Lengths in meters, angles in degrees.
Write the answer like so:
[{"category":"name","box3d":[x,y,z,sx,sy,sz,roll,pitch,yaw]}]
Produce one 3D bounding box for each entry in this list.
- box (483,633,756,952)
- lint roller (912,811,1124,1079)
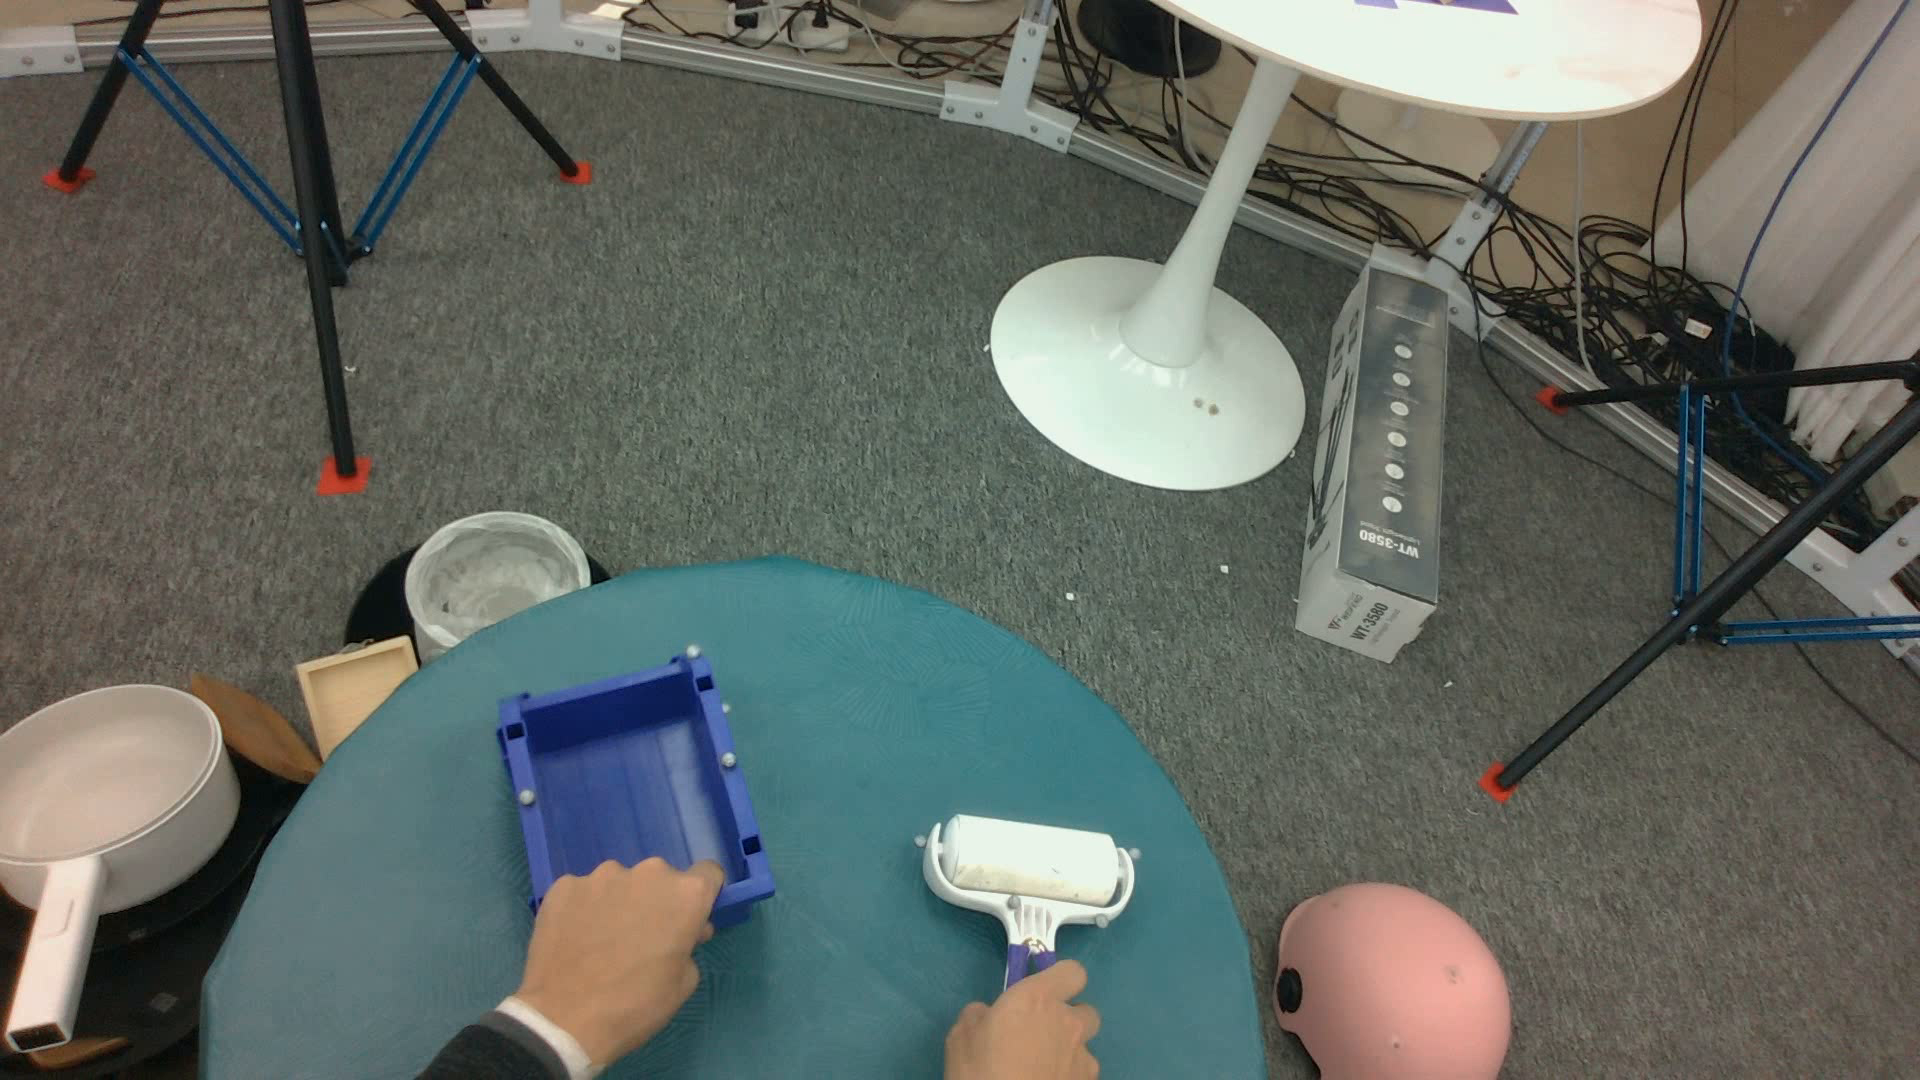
[{"category":"box","box3d":[-0.203,0.141,0.801,0.125,0.081,0.180,-13,62,-17]},{"category":"lint roller","box3d":[0.037,0.240,0.809,0.133,0.050,0.181,11,38,-10]}]
